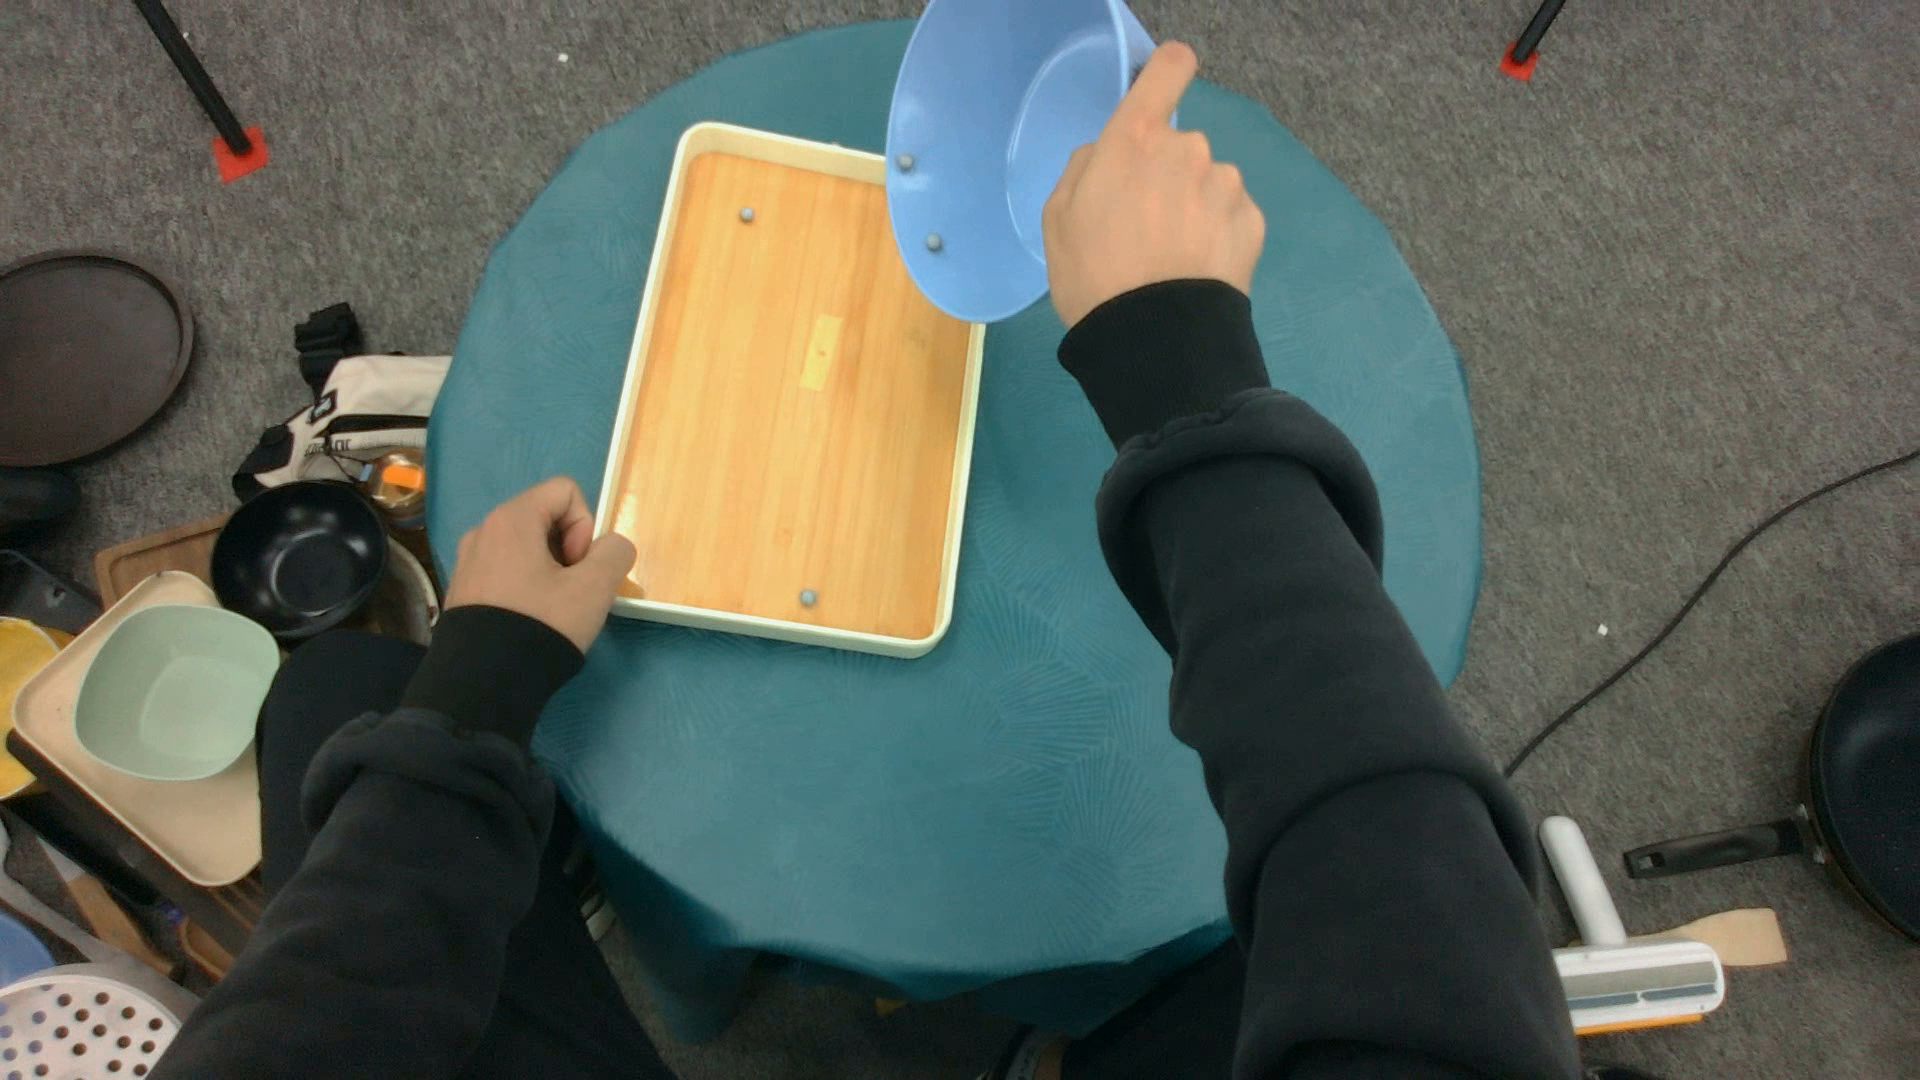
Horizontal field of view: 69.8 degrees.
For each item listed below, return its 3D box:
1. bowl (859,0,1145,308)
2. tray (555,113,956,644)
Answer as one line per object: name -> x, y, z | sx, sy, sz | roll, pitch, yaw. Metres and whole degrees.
bowl -> 0.026, -0.198, 0.668 | 0.070, 0.175, 0.176 | -1, 65, -38
tray -> -0.103, -0.097, 0.771 | 0.192, 0.027, 0.301 | 9, 67, -8
